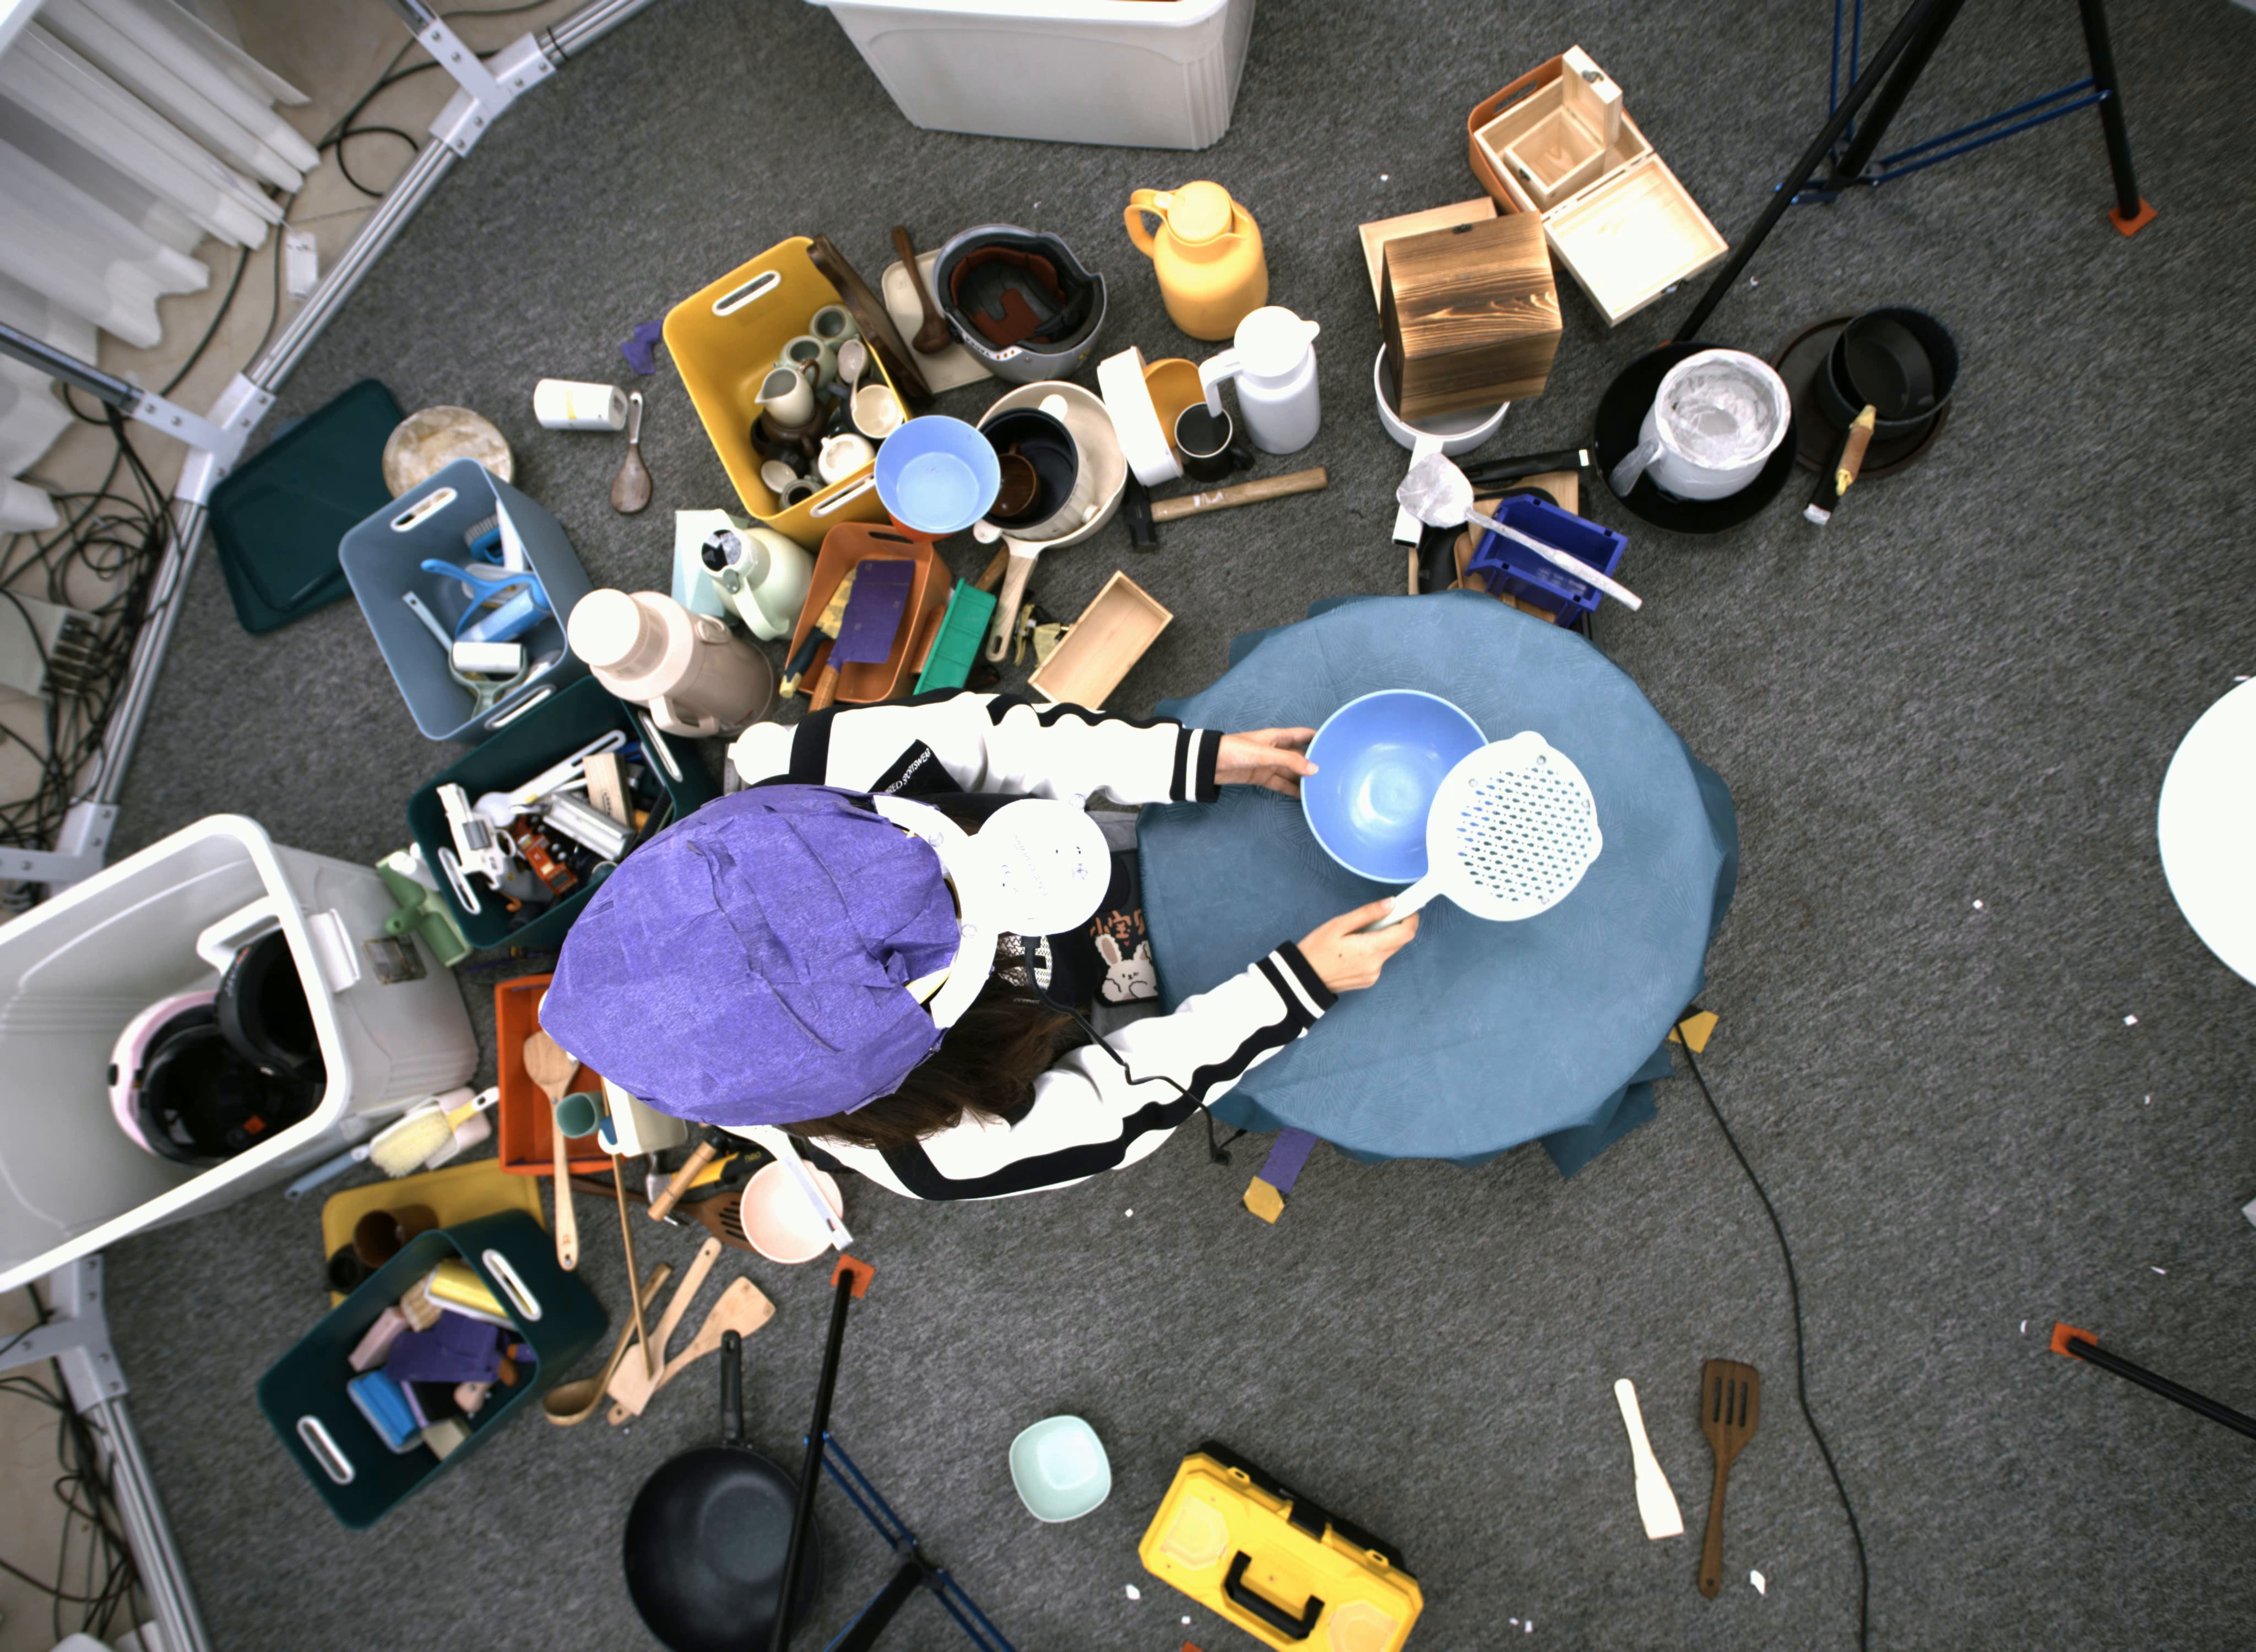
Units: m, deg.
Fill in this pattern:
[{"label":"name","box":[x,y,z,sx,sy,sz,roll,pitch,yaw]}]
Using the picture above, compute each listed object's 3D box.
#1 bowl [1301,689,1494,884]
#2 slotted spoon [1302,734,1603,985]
[{"label":"bowl","box":[0.278,-0.037,1.417,0.197,0.095,0.196,-1,87,10]},{"label":"slotted spoon","box":[0.298,0.059,1.341,0.365,0.075,0.166,-36,62,26]}]
